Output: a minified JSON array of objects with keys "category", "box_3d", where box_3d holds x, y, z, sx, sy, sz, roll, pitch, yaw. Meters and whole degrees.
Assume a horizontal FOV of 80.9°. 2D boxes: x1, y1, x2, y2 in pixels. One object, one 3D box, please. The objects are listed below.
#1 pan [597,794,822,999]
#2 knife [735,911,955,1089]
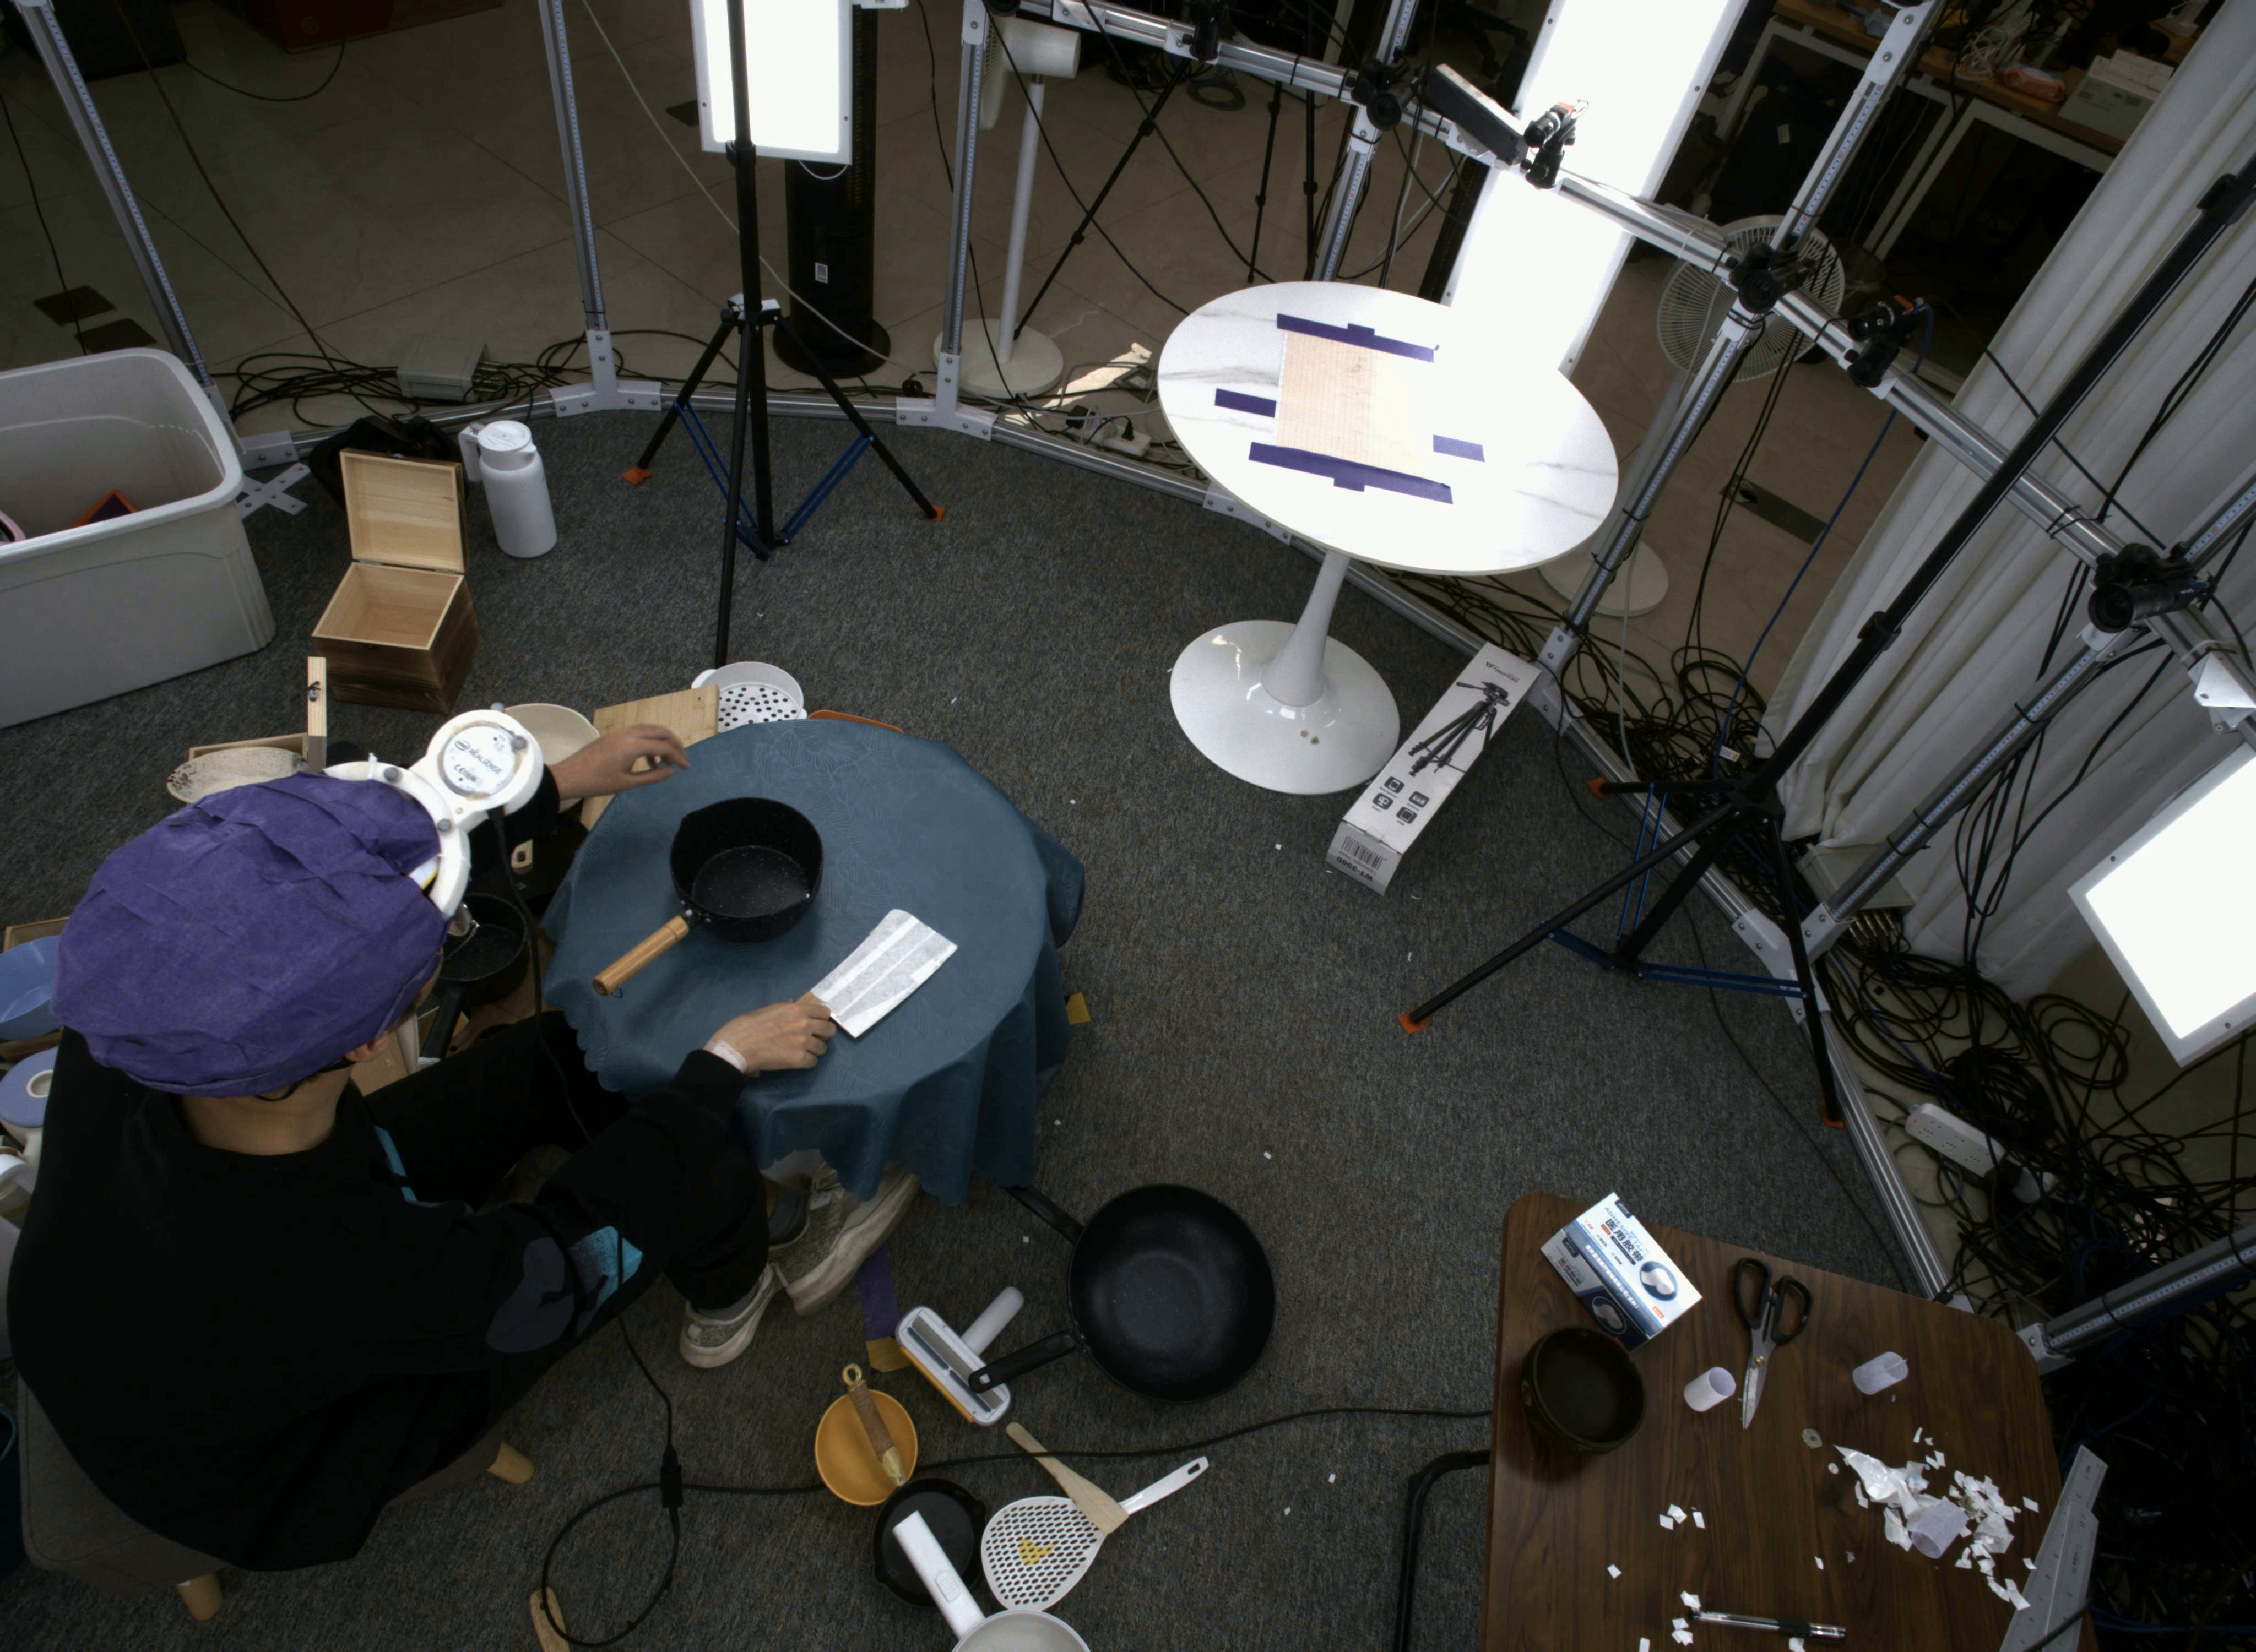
[{"category":"pan","box_3d":[-0.506,0.103,1.544,0.204,0.110,0.341,29,51,8]},{"category":"knife","box_3d":[-0.345,0.206,1.569,0.111,0.022,0.316,39,51,14]}]
